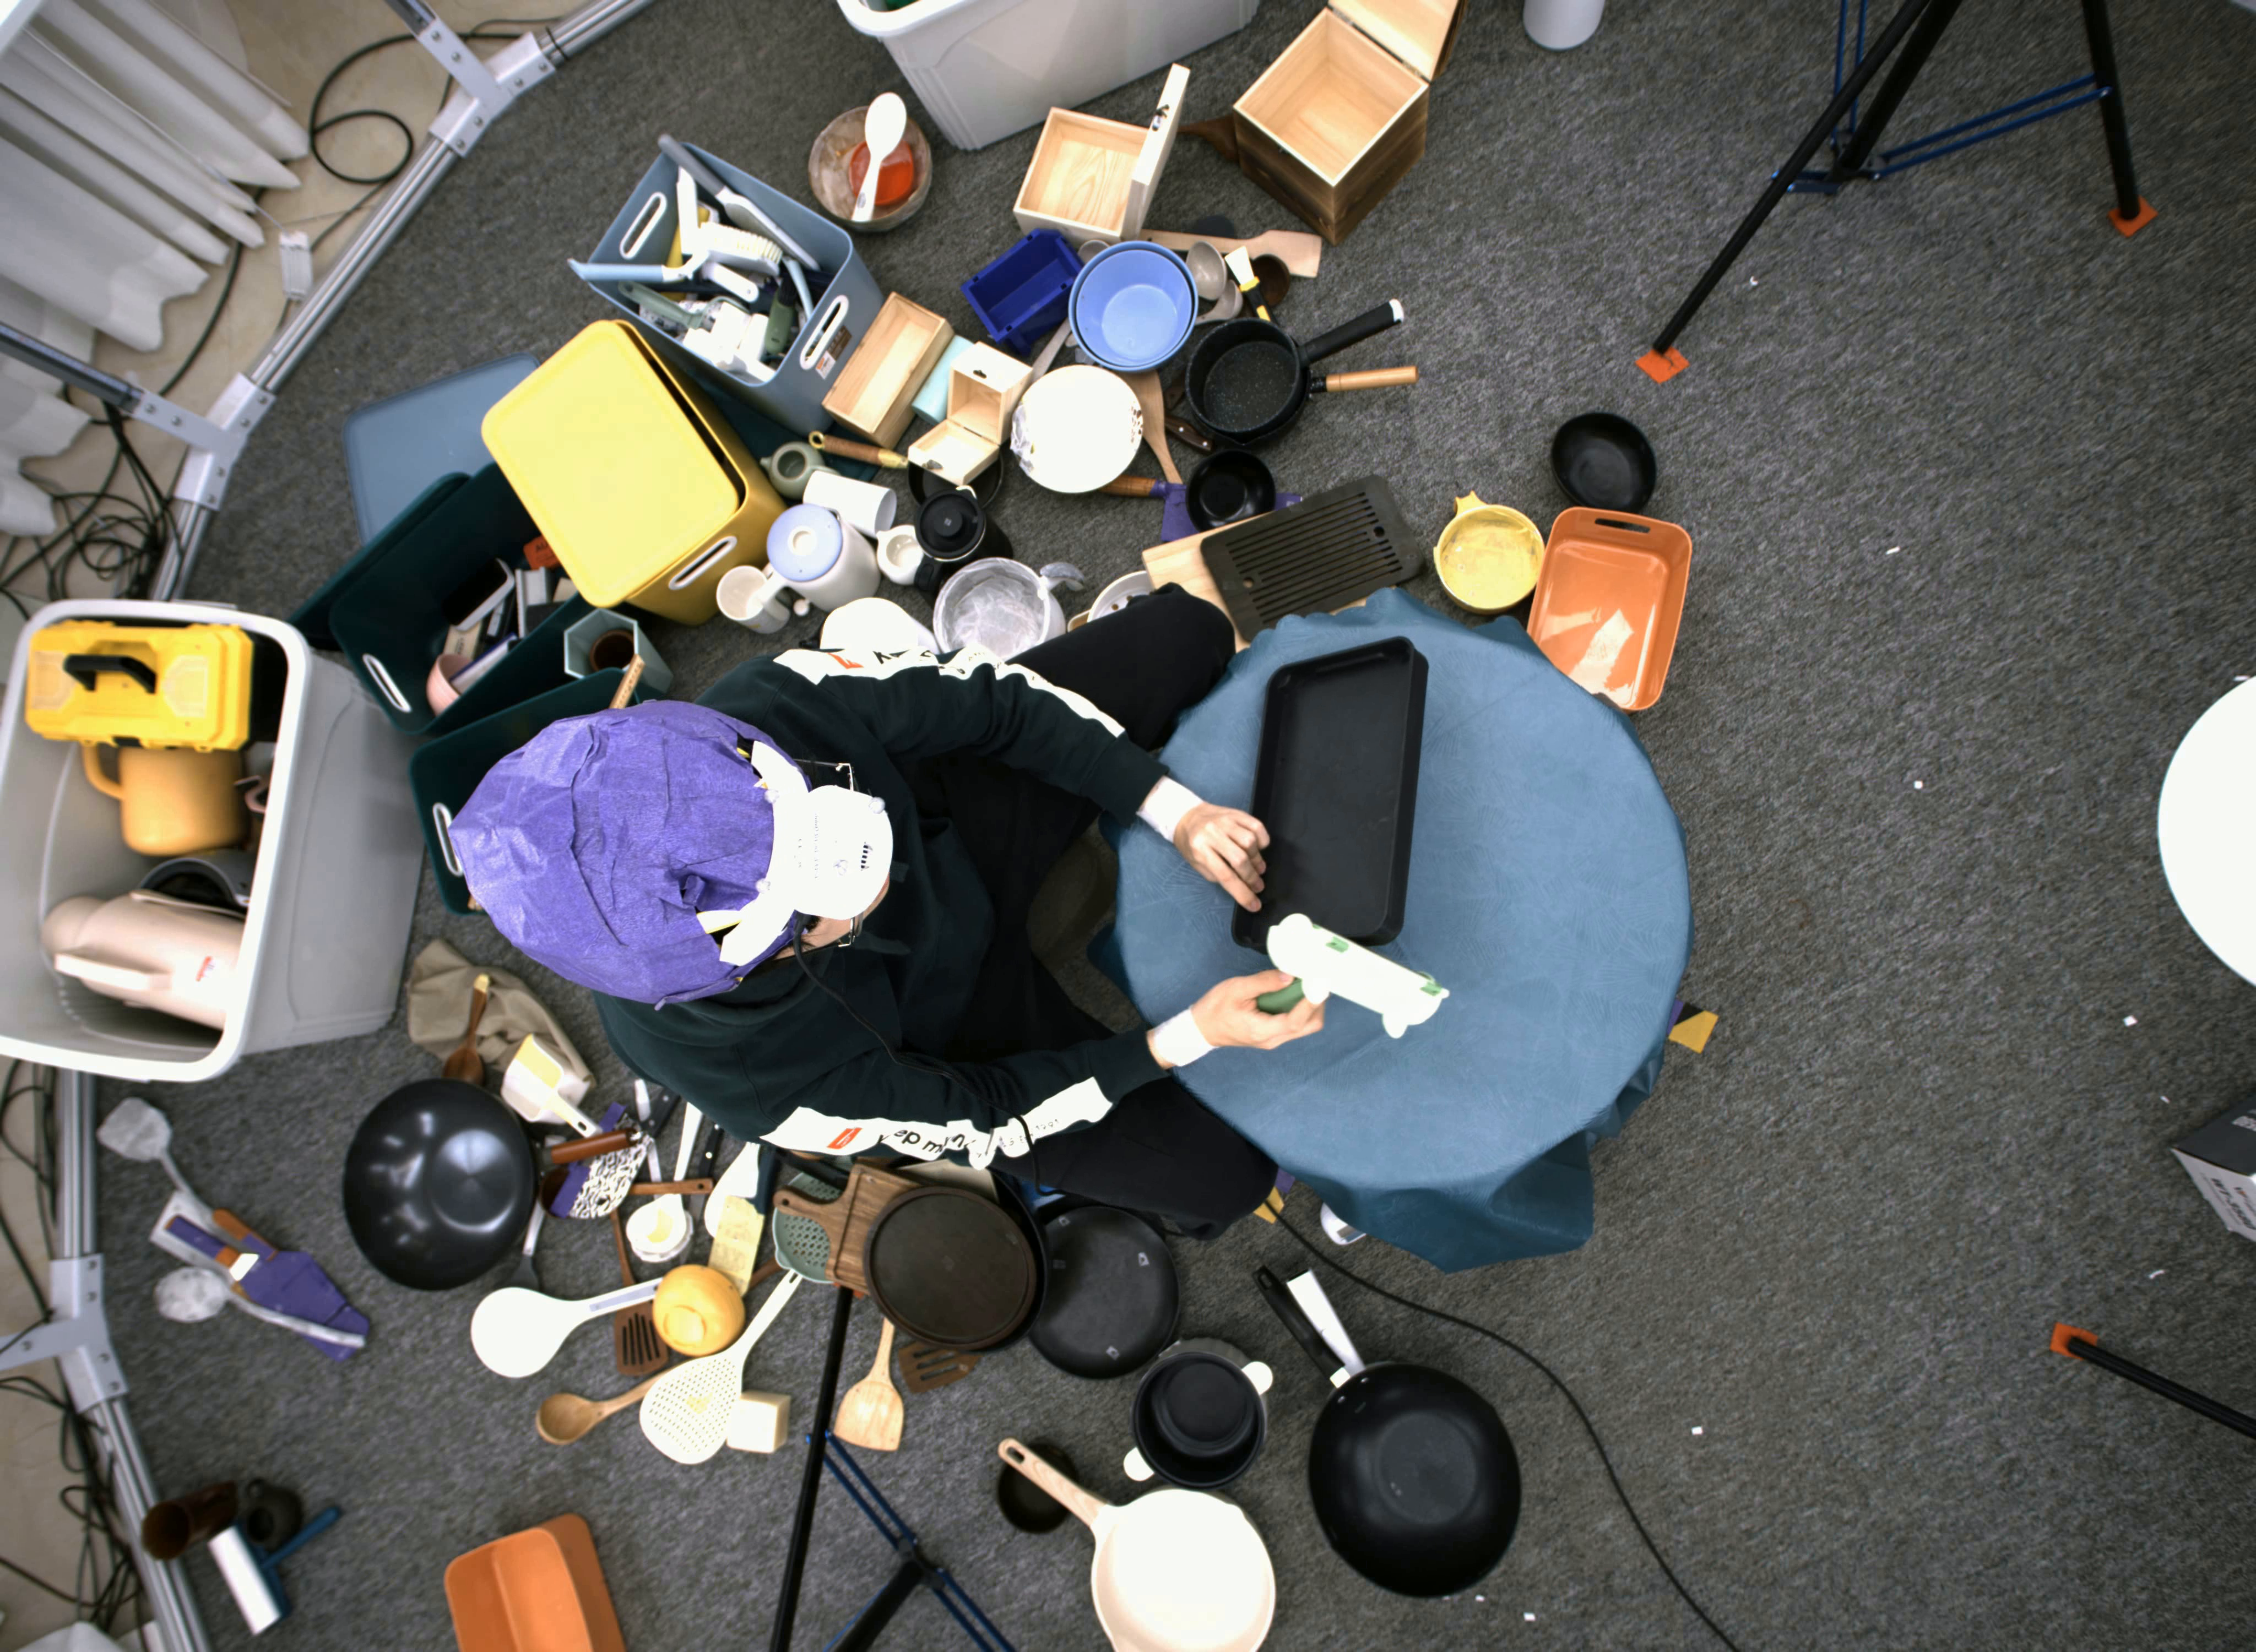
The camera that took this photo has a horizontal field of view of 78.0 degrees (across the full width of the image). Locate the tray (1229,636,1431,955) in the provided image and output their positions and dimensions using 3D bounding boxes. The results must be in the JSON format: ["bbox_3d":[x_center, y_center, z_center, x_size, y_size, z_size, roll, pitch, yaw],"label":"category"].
[{"bbox_3d":[0.202,-0.029,1.370,0.186,0.037,0.312,-7,65,43],"label":"tray"}]

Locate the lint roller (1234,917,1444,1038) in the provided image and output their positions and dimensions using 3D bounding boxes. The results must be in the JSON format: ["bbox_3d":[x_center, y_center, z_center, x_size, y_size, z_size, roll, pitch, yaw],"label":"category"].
[{"bbox_3d":[0.174,0.168,1.319,0.187,0.199,0.080,-36,45,35],"label":"lint roller"}]
